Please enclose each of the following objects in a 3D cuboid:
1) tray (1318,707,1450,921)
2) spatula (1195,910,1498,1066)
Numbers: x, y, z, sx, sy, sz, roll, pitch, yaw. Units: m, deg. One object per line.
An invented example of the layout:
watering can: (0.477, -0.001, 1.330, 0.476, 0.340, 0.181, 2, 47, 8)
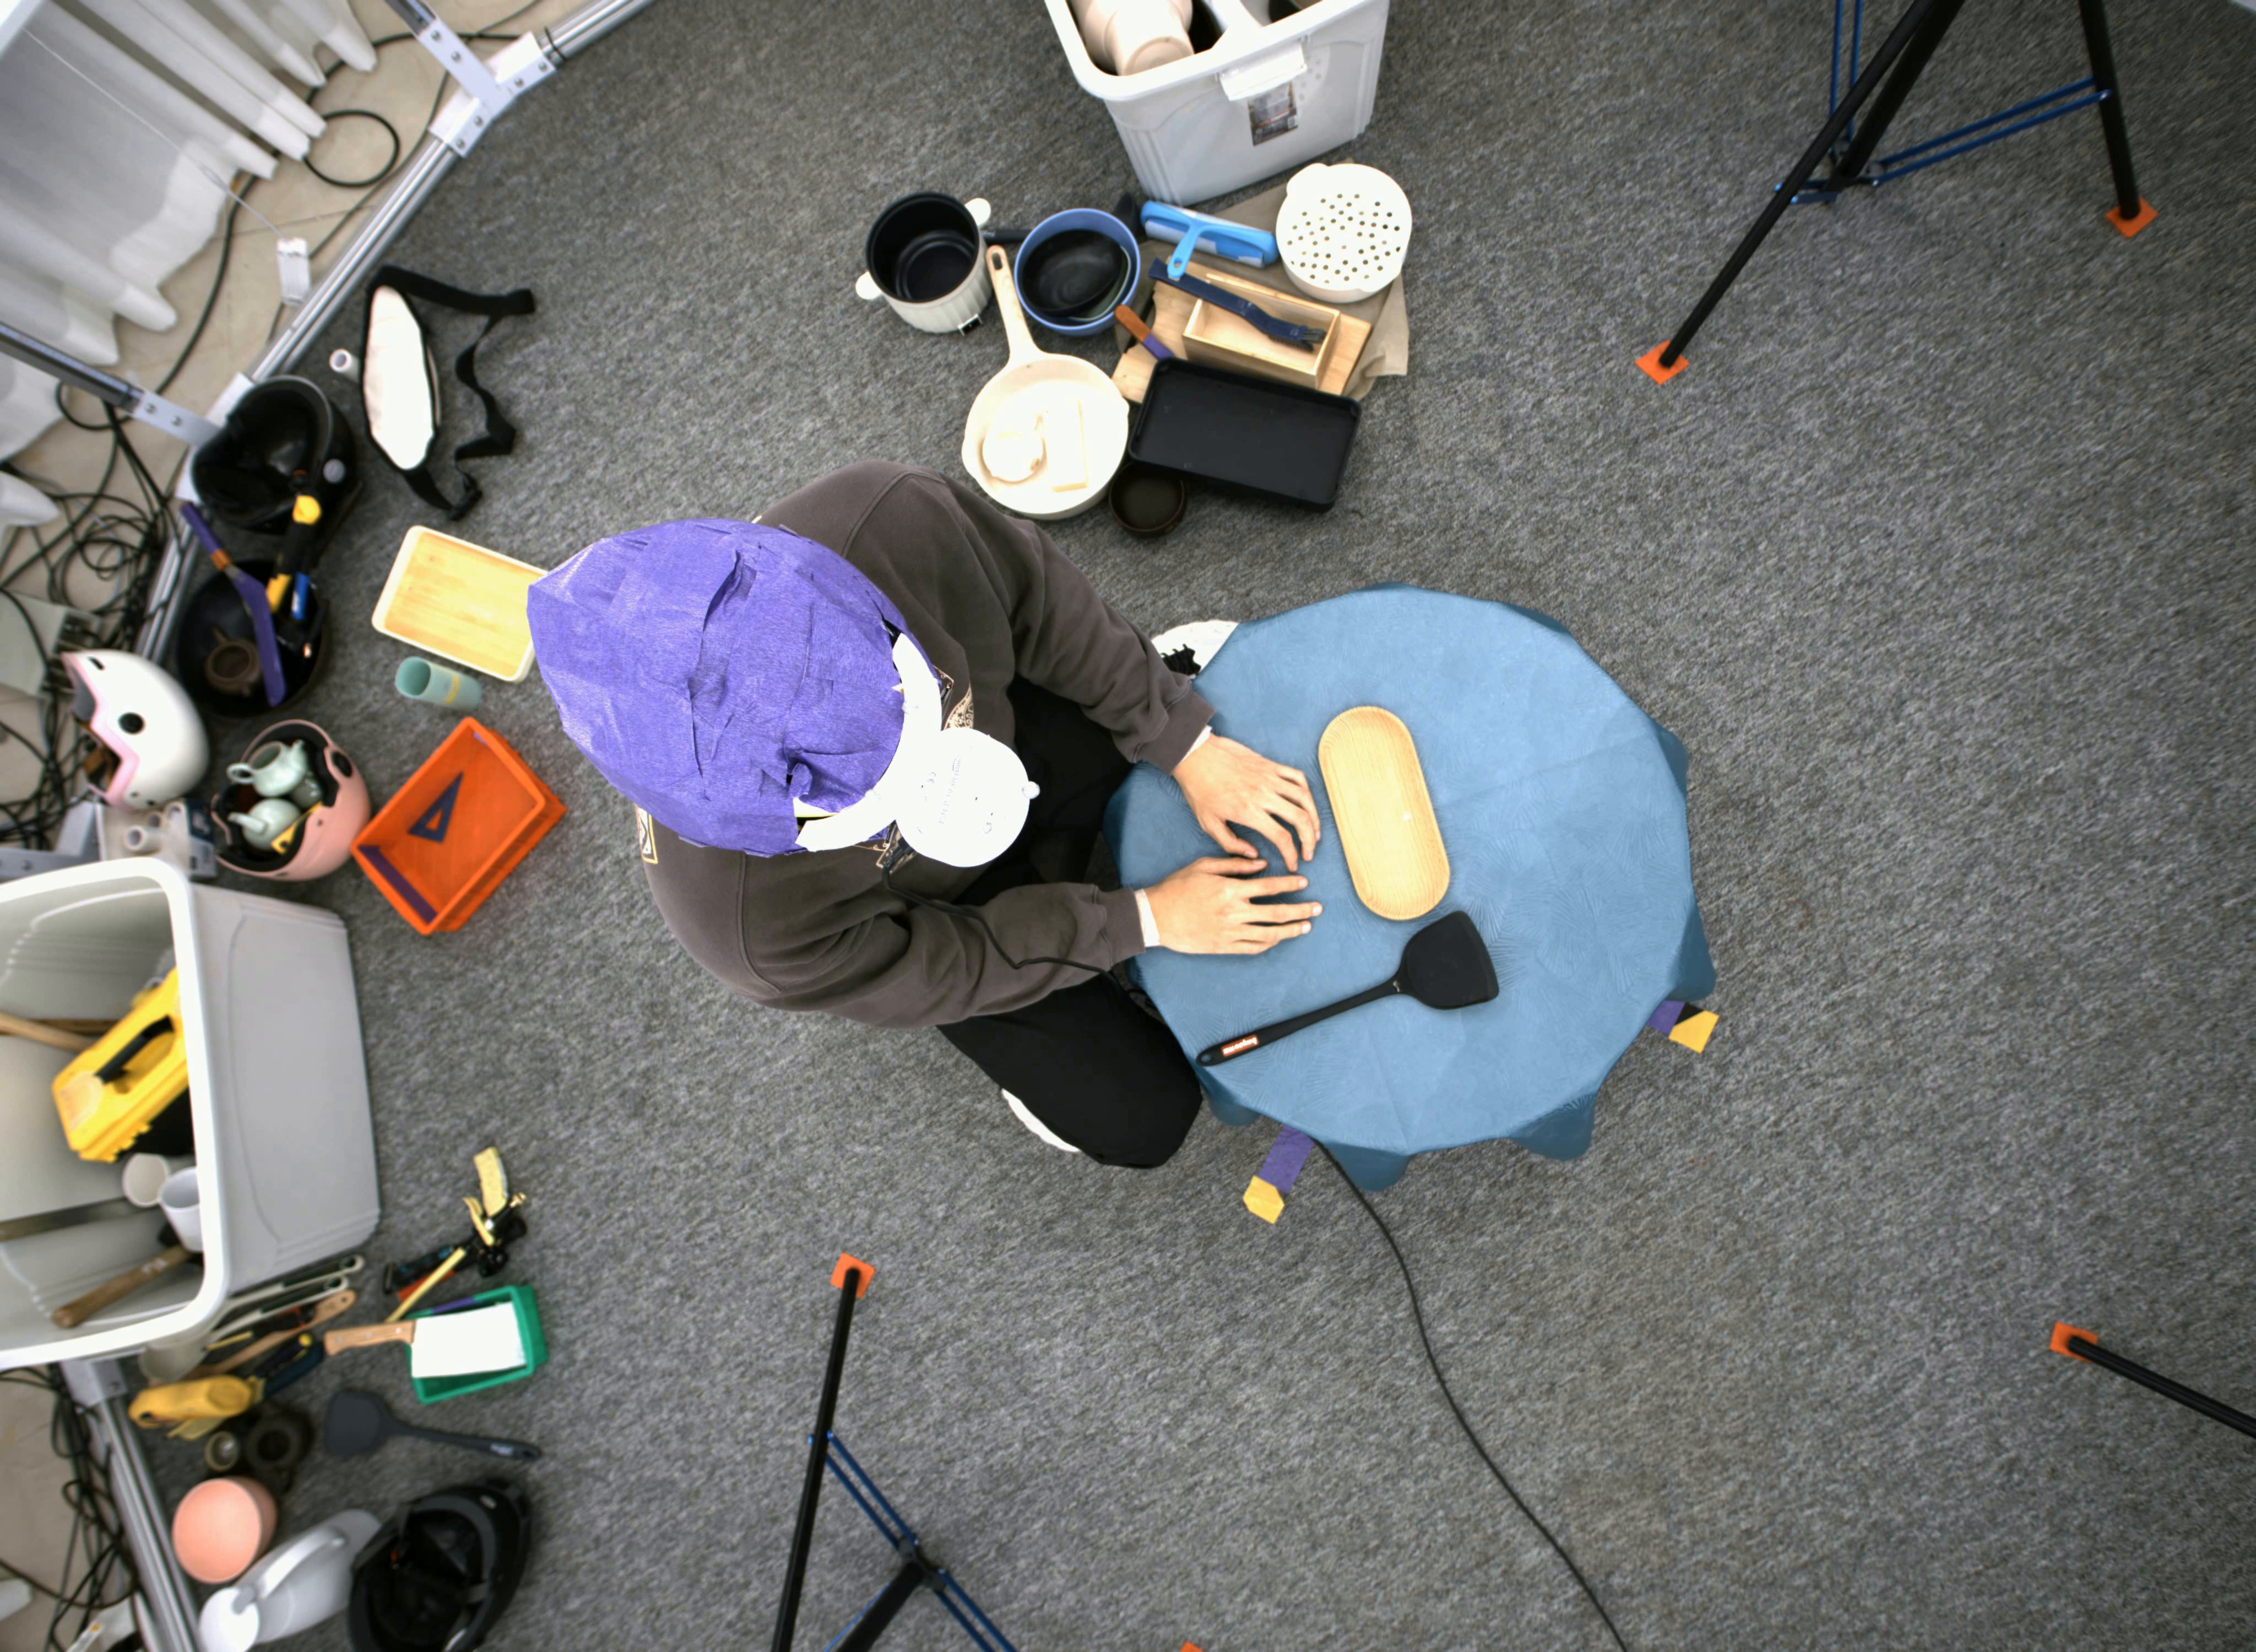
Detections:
tray: (0.269, -0.014, 1.454, 0.102, 0.020, 0.230, -16, 86, 10)
spatula: (0.219, 0.187, 1.443, 0.328, 0.040, 0.099, -23, 82, 9)
